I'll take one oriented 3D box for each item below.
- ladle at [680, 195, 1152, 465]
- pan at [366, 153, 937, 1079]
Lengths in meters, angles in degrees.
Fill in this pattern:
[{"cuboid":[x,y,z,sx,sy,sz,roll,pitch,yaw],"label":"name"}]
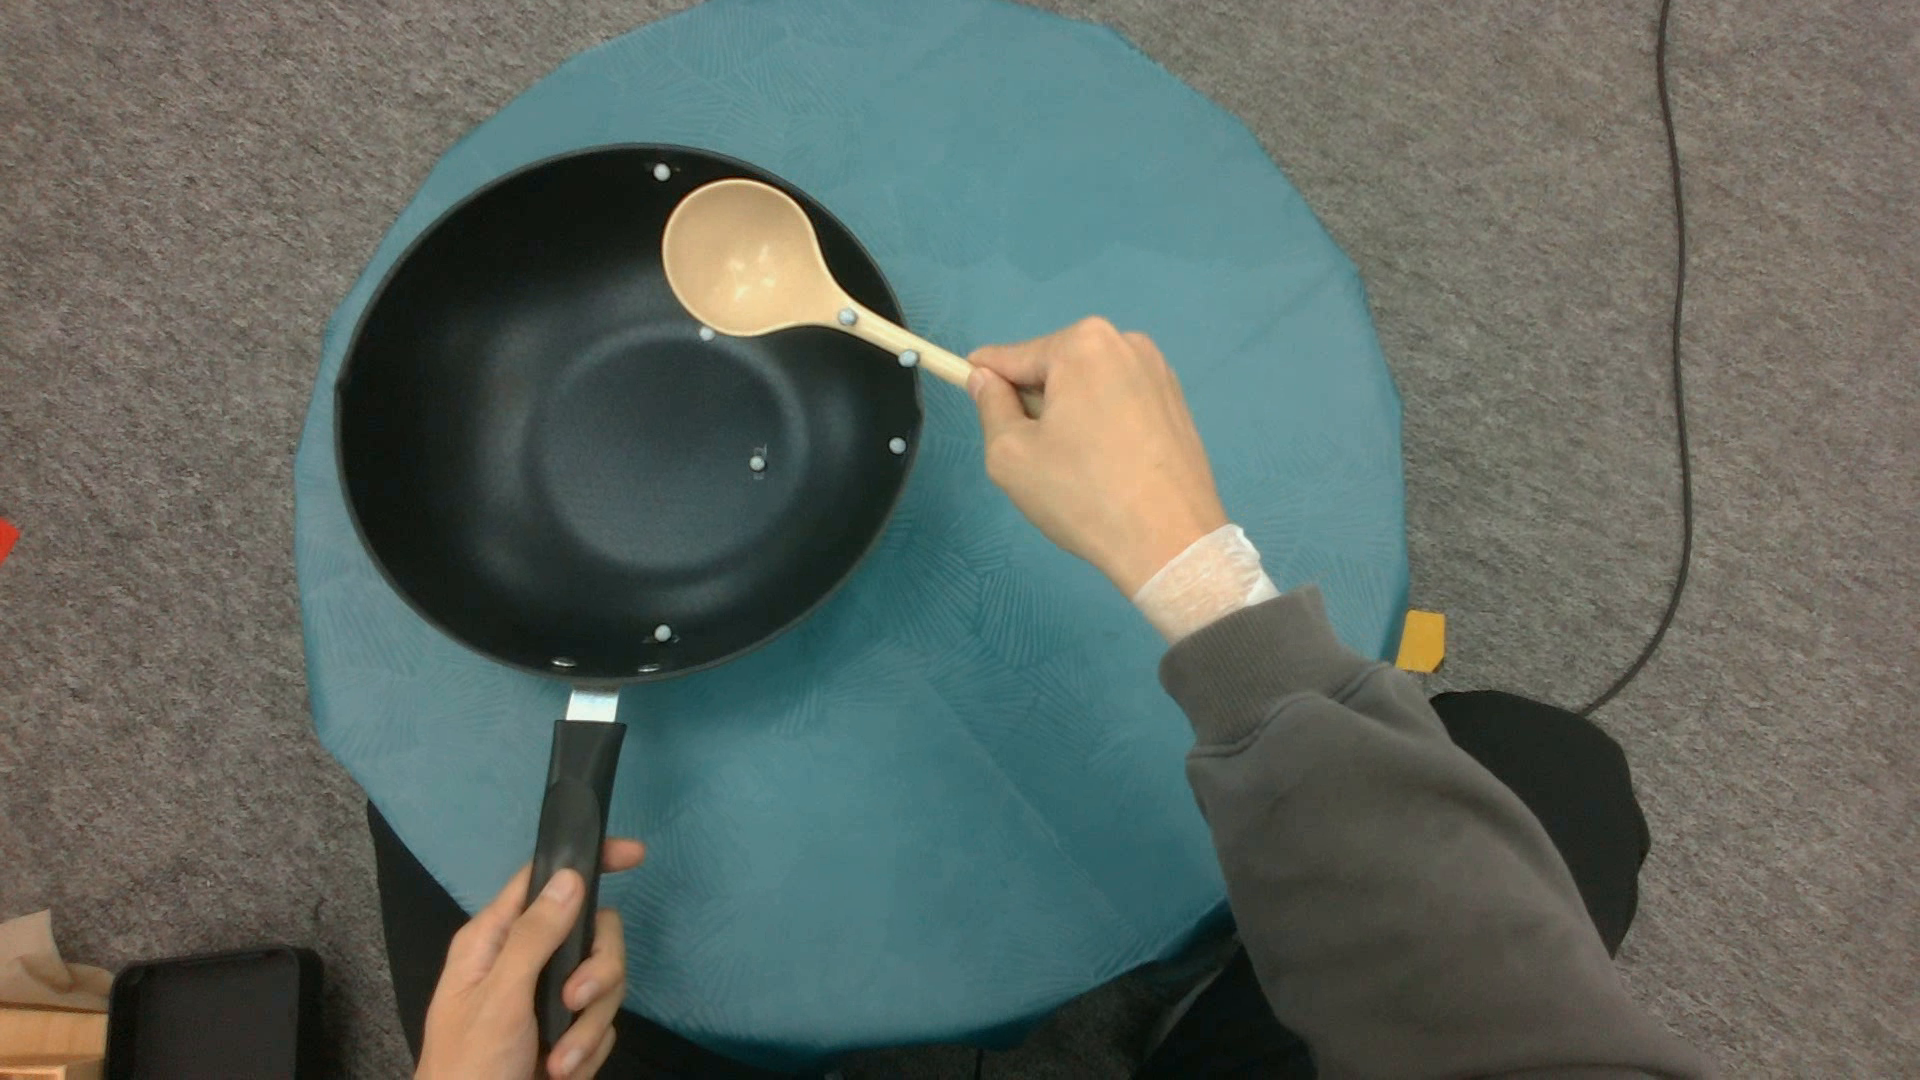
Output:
[{"cuboid":[-0.030,-0.093,0.618,0.254,0.073,0.072,28,91,36],"label":"ladle"},{"cuboid":[-0.161,0.032,0.700,0.288,0.086,0.464,4,77,2],"label":"pan"}]
